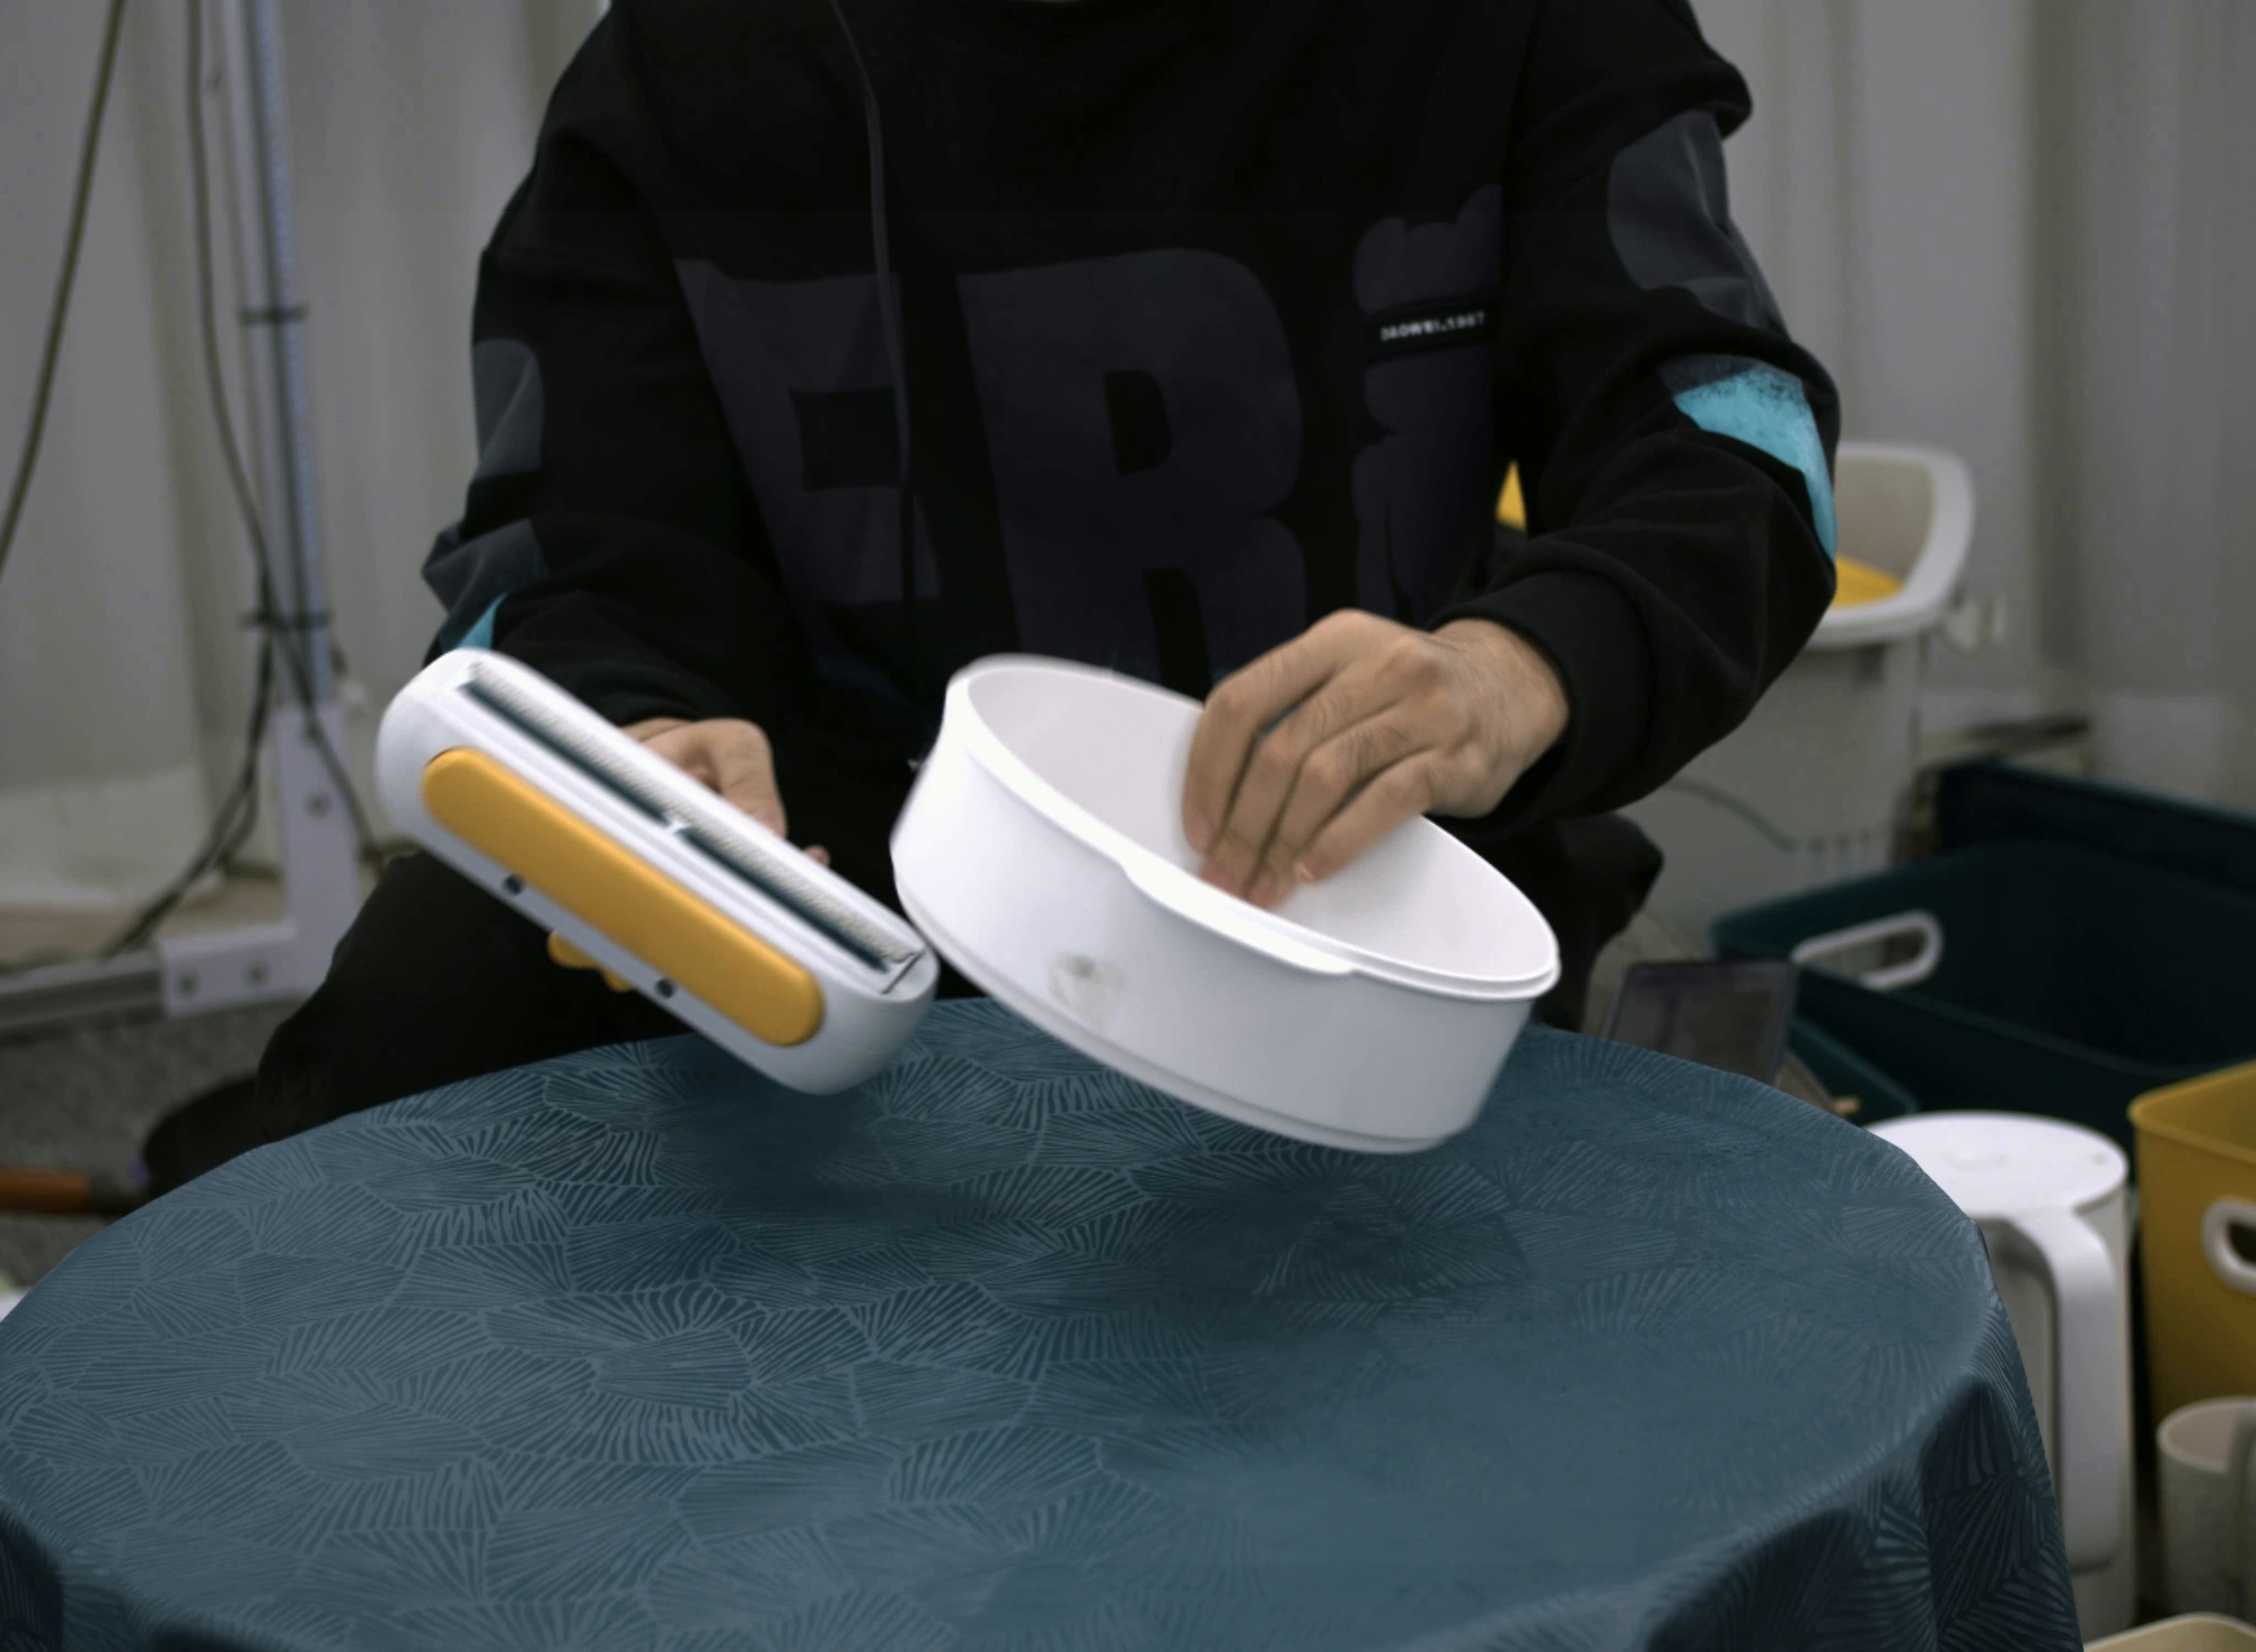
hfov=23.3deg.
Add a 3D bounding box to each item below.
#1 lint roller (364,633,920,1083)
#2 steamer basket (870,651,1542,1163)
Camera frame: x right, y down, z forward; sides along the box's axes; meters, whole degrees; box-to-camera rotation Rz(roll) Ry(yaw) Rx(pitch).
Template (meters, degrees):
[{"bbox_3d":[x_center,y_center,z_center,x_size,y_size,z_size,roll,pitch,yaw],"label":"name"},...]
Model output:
[{"bbox_3d":[-0.142,0.007,1.772,0.193,0.074,0.193,31,15,8],"label":"lint roller"},{"bbox_3d":[0.022,0.026,1.629,0.201,0.069,0.232,28,13,-3],"label":"steamer basket"}]
